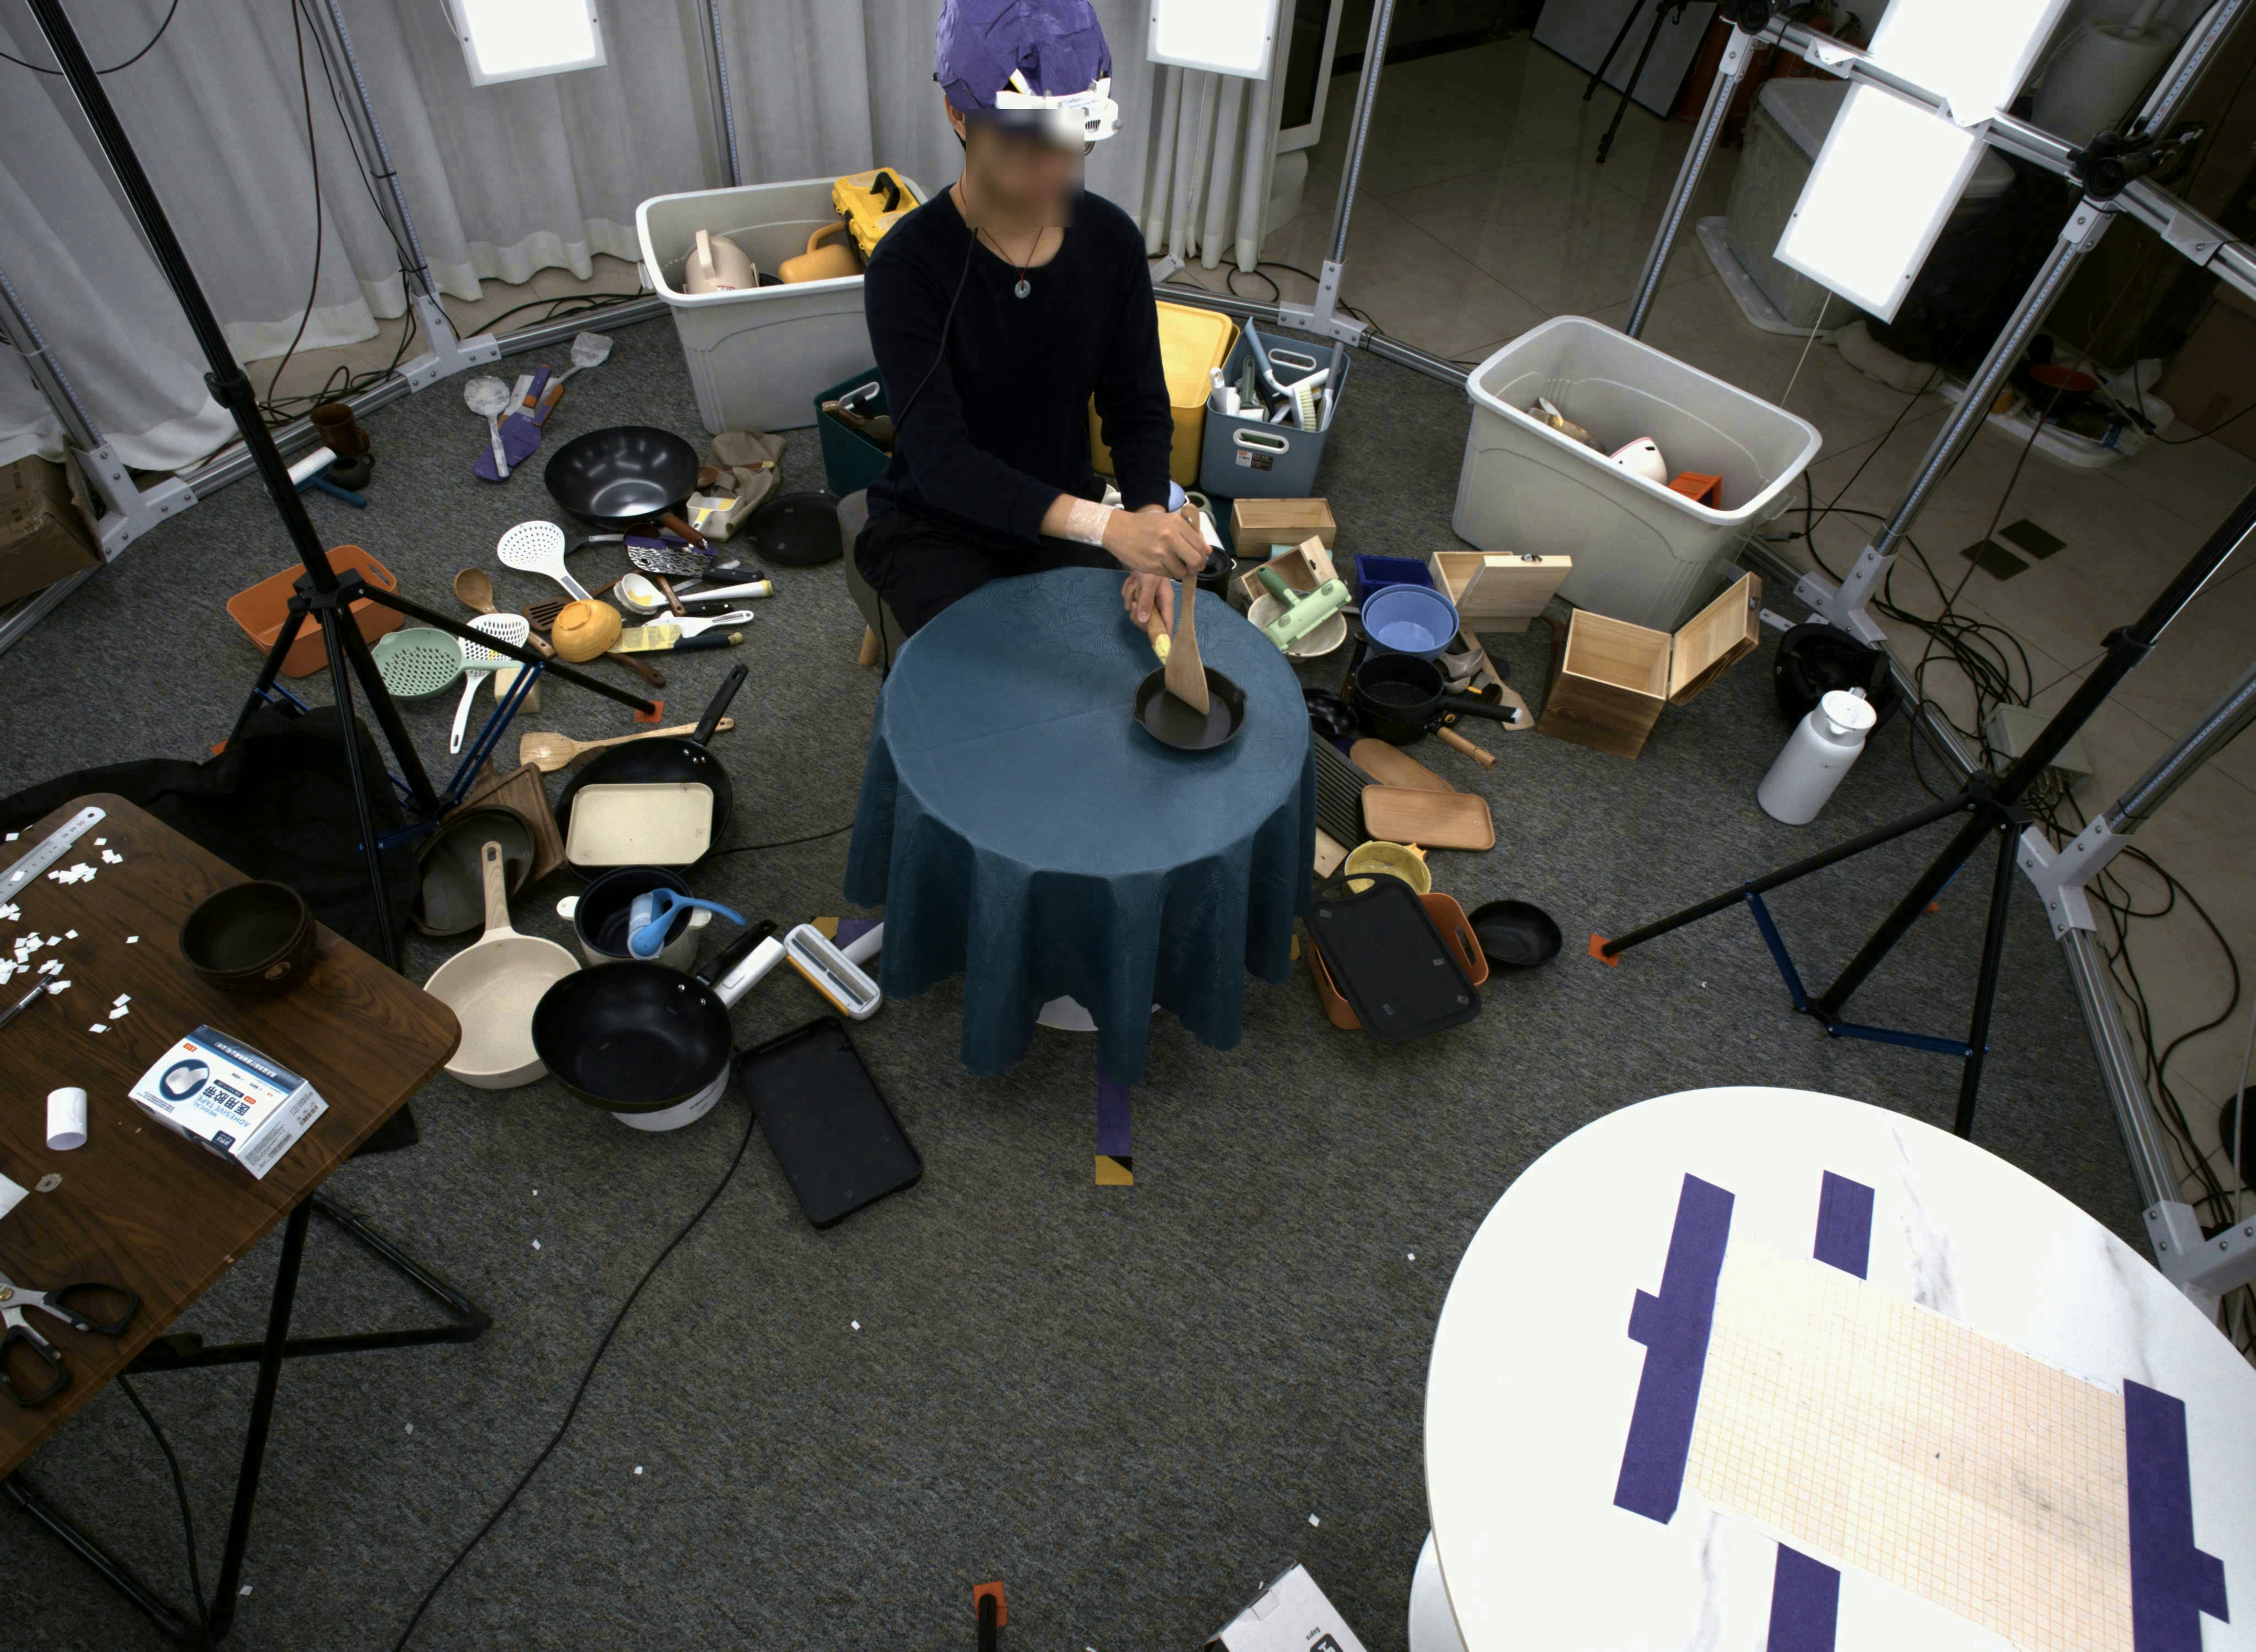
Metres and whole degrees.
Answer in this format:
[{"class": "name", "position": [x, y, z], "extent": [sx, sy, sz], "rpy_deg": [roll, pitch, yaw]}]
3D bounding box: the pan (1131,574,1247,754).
[{"class": "pan", "position": [0.061, -0.232, 1.828], "extent": [0.169, 0.048, 0.332], "rpy_deg": [-11, 56, -13]}]

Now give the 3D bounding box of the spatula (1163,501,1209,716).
[{"class": "spatula", "position": [0.079, -0.286, 1.708], "extent": [0.081, 0.319, 0.017], "rpy_deg": [29, 49, 29]}]
